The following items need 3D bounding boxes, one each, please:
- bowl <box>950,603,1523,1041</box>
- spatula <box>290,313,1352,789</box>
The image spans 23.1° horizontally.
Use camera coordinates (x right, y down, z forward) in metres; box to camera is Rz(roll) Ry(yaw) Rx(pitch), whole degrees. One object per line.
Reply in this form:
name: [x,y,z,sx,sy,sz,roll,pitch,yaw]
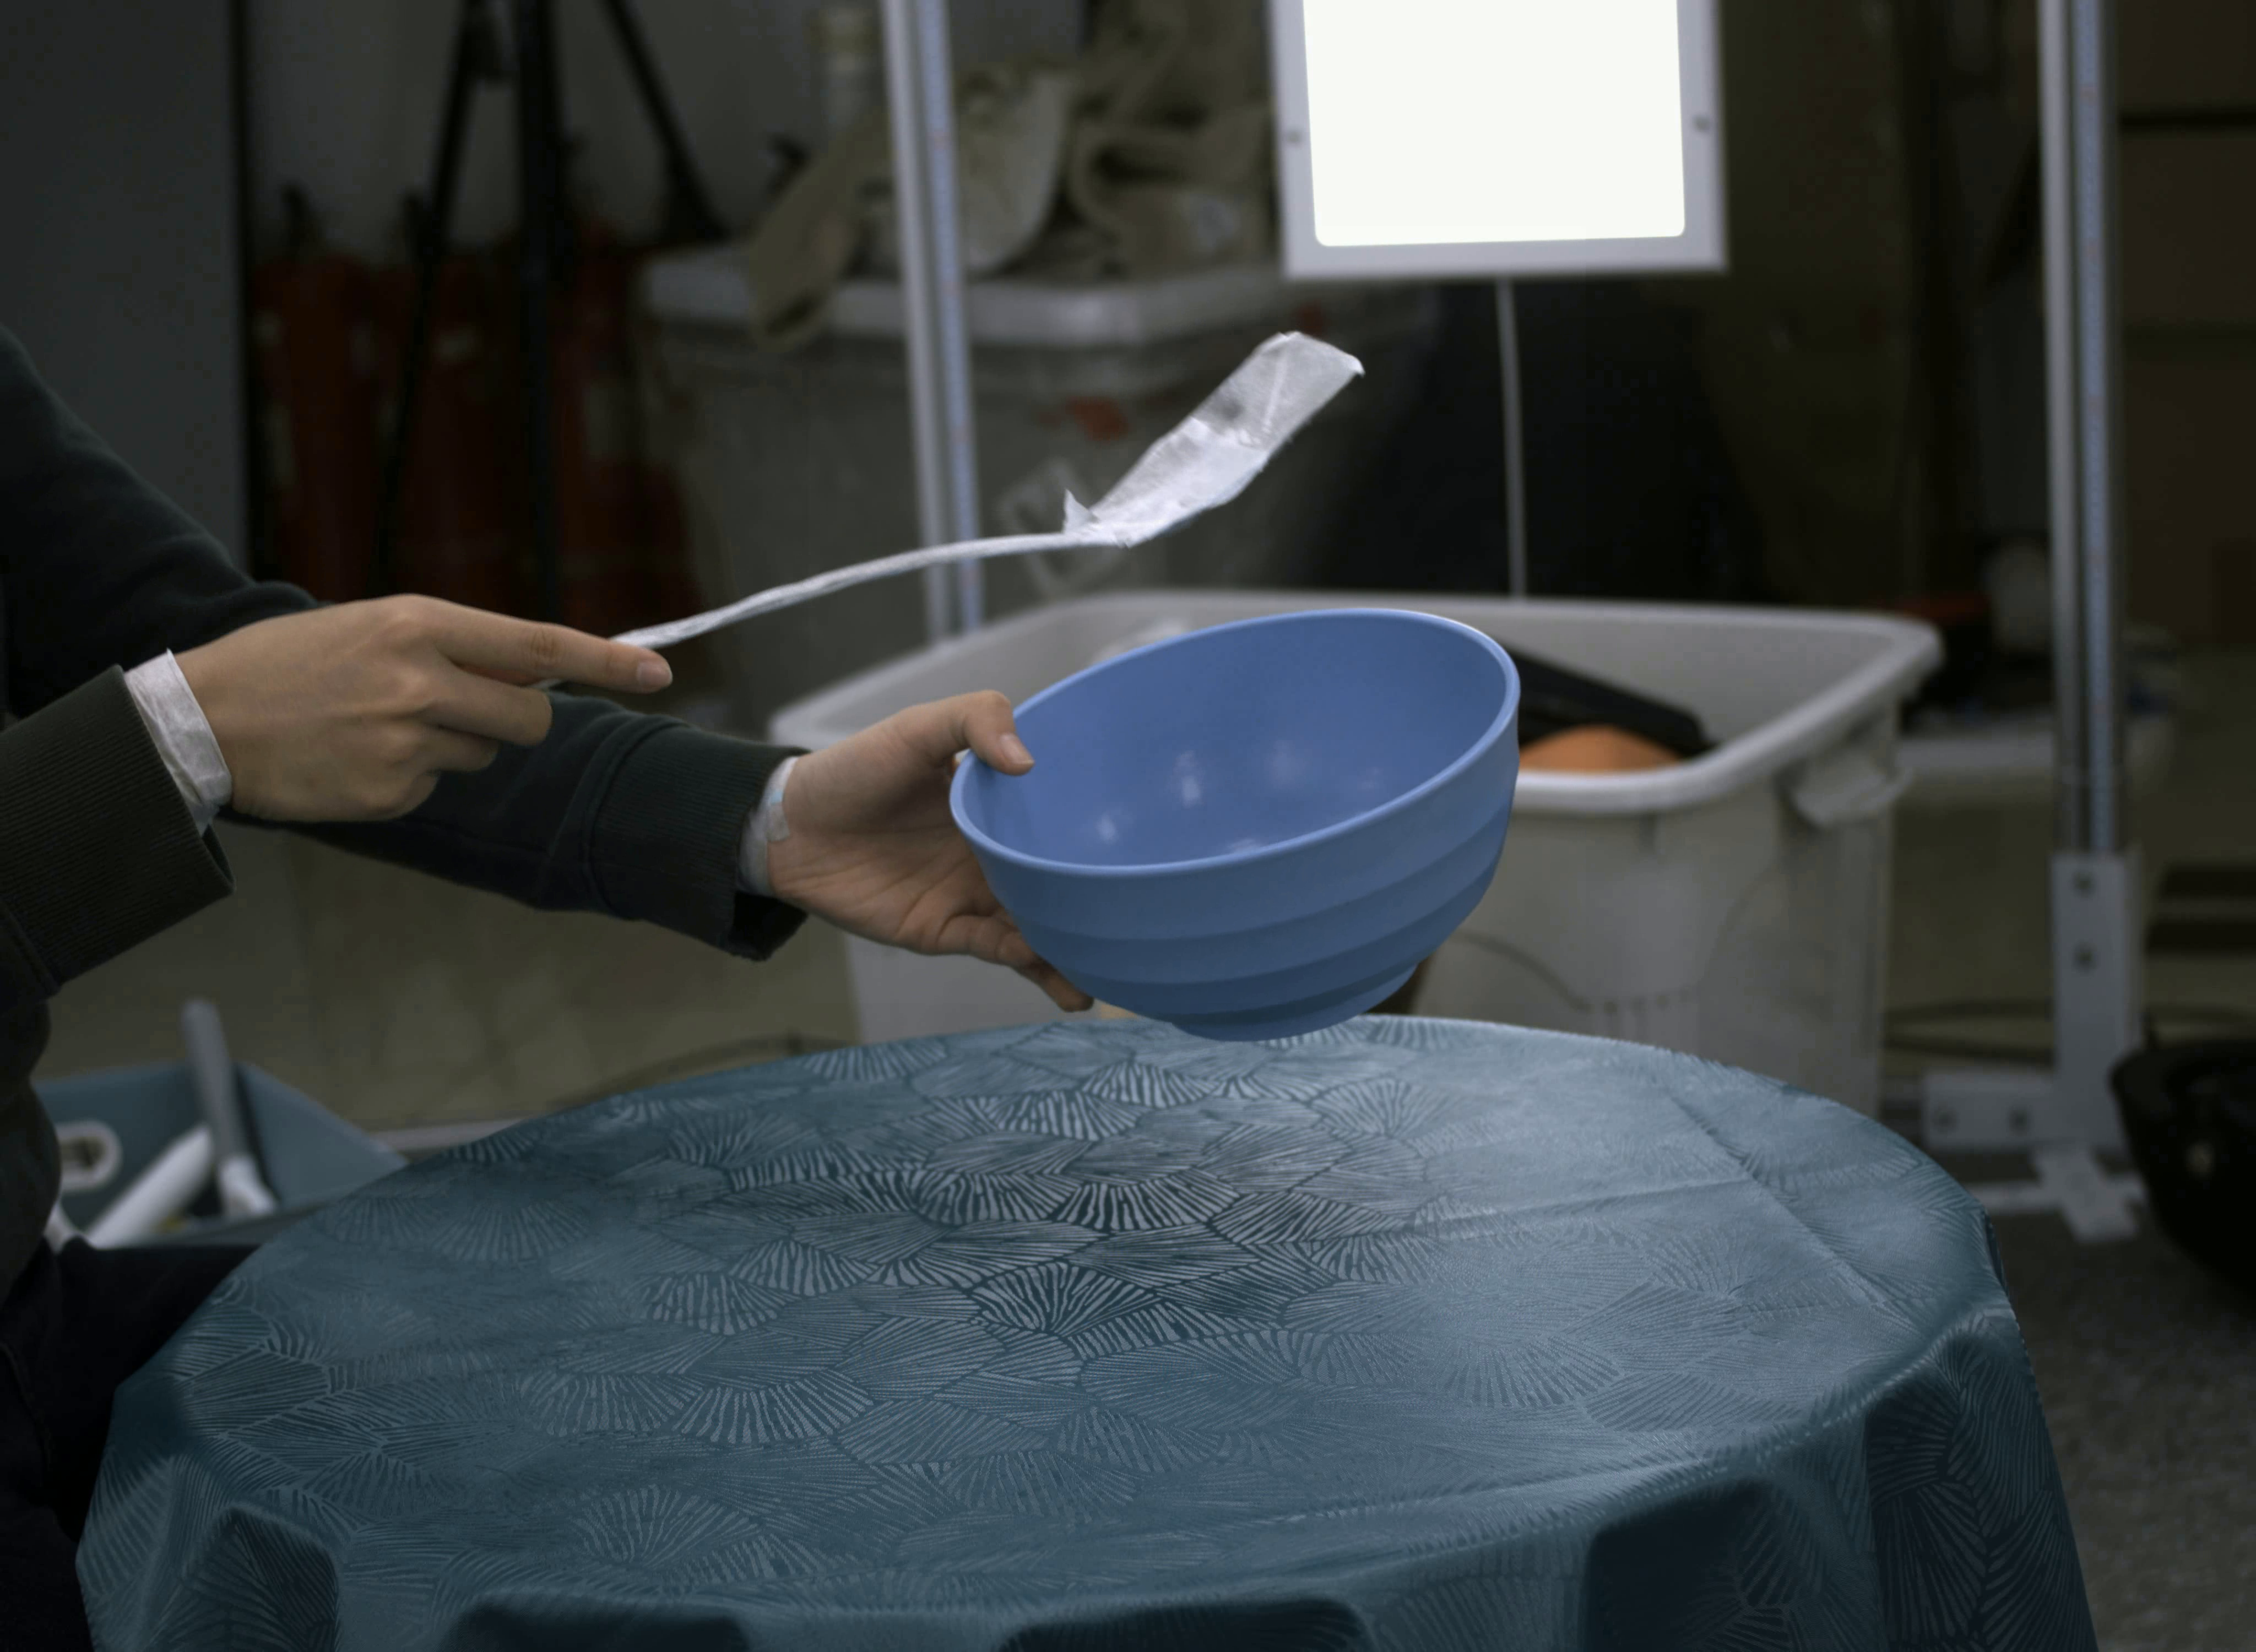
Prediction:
bowl: [0.045,0.010,1.861,0.197,0.095,0.196,-12,25,4]
spatula: [-0.097,-0.085,1.748,0.362,0.045,0.099,-18,18,-6]
